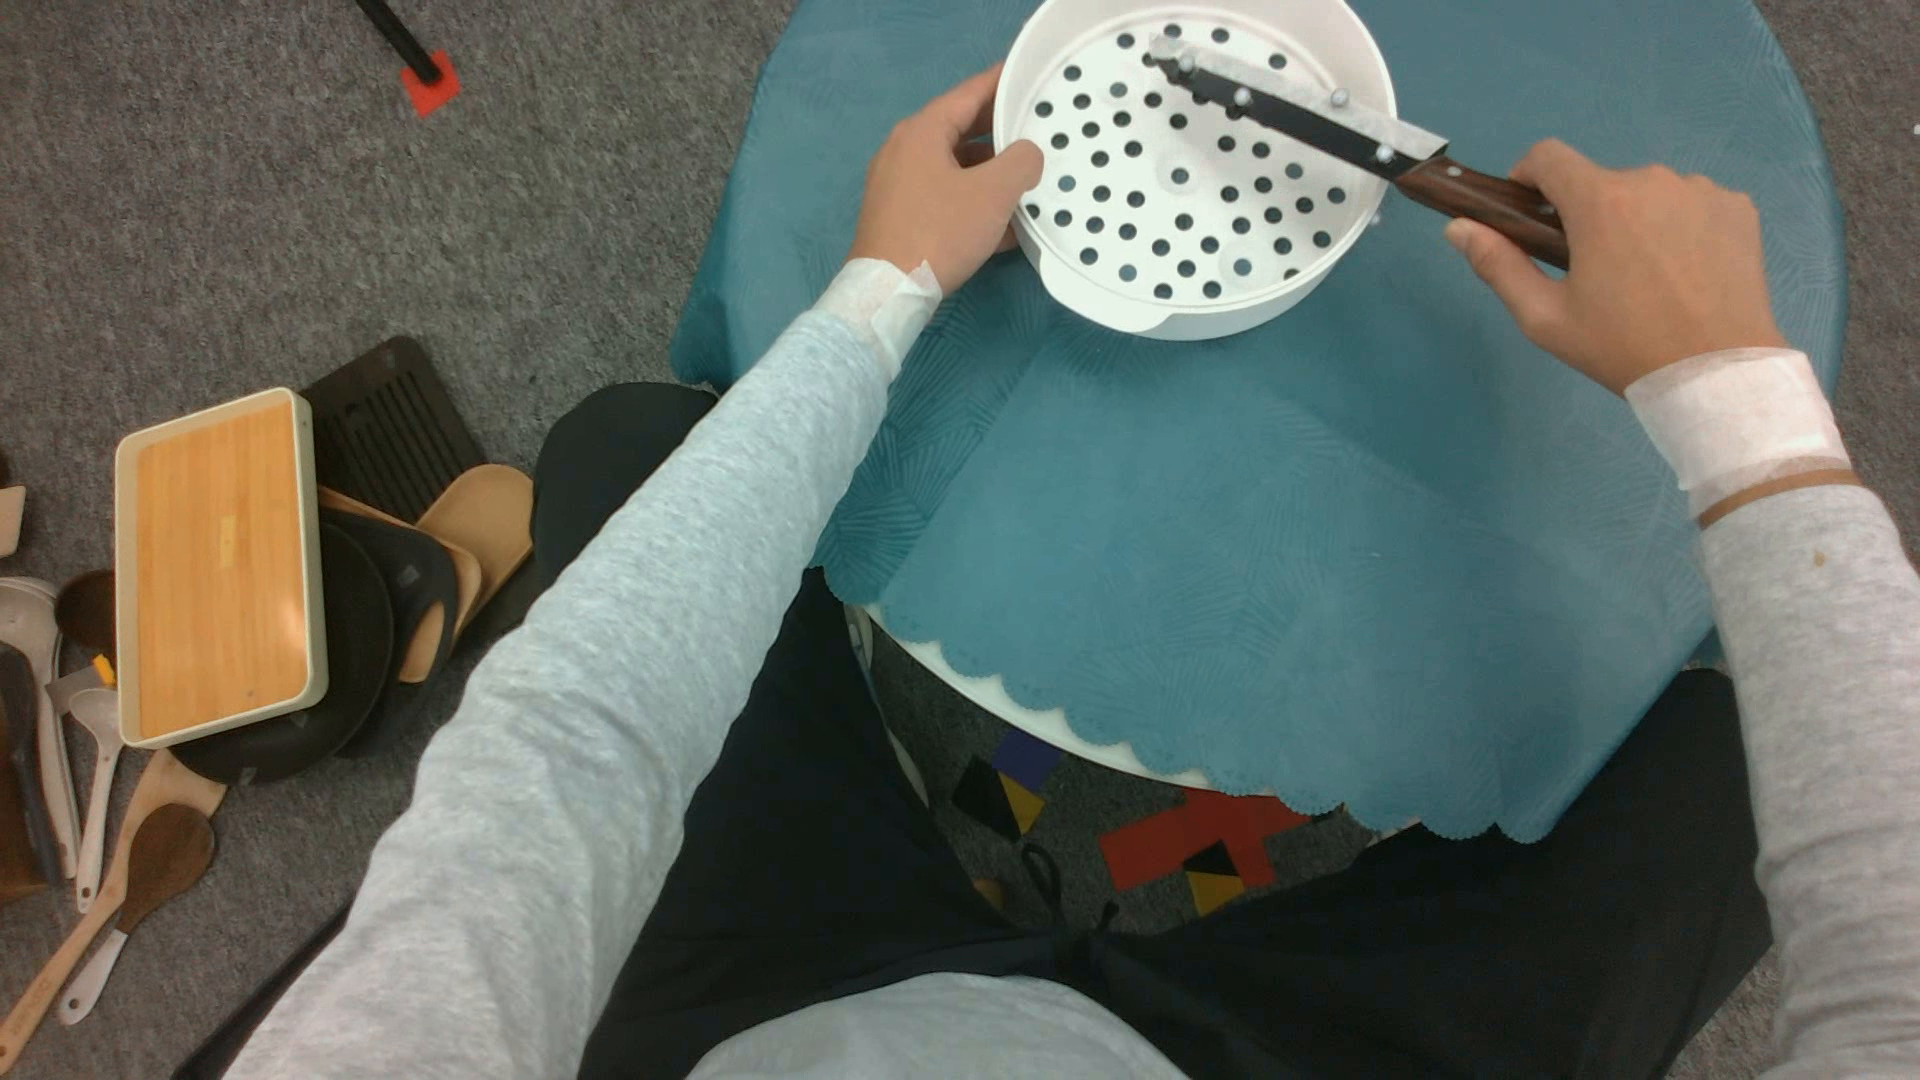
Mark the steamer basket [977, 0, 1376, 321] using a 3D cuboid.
[{"bbox_3d":[0.111,-0.215,0.725,0.202,0.069,0.231,28,83,7],"label":"steamer basket"}]

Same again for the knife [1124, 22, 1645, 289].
[{"bbox_3d":[0.192,-0.193,0.658,0.289,0.020,0.050,36,57,25],"label":"knife"}]
